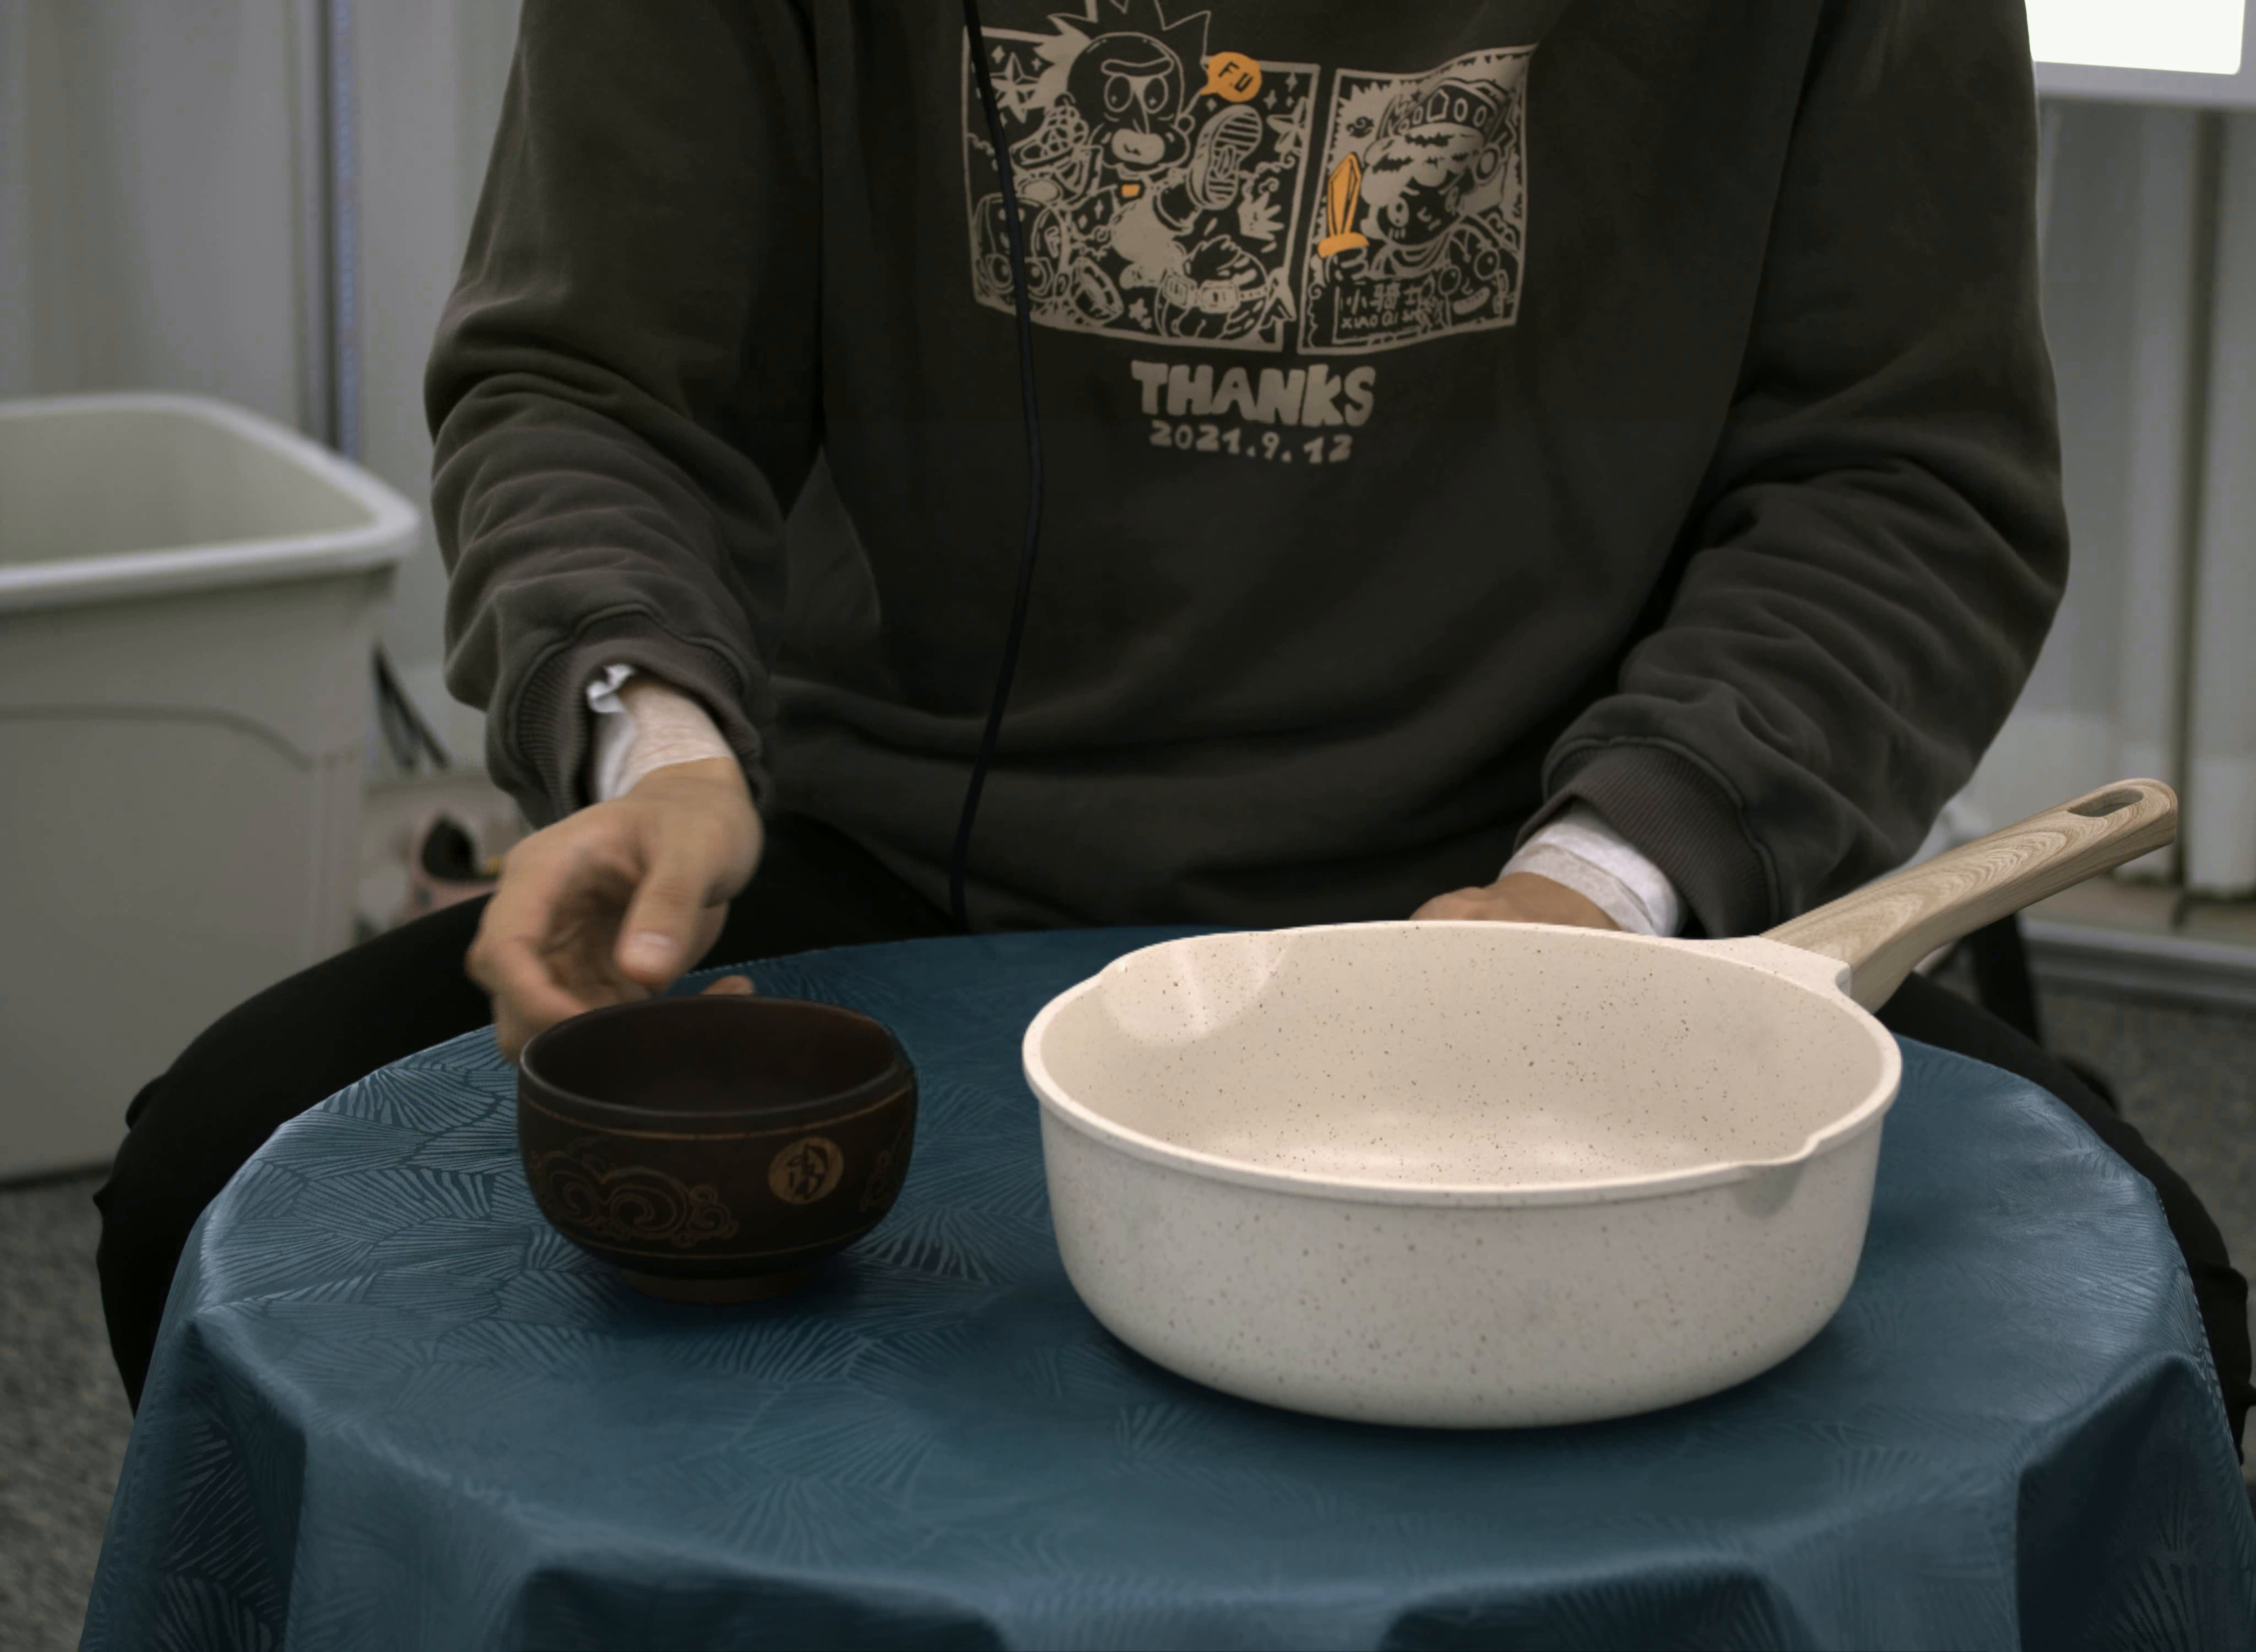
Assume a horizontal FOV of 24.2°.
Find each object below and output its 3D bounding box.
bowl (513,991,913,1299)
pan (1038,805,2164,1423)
[{"bbox_3d":[-0.121,0.097,1.547,0.117,0.070,0.117,-1,15,1],"label":"bowl"},{"bbox_3d":[0.168,0.079,1.573,0.437,0.103,0.260,-12,18,-40],"label":"pan"}]
